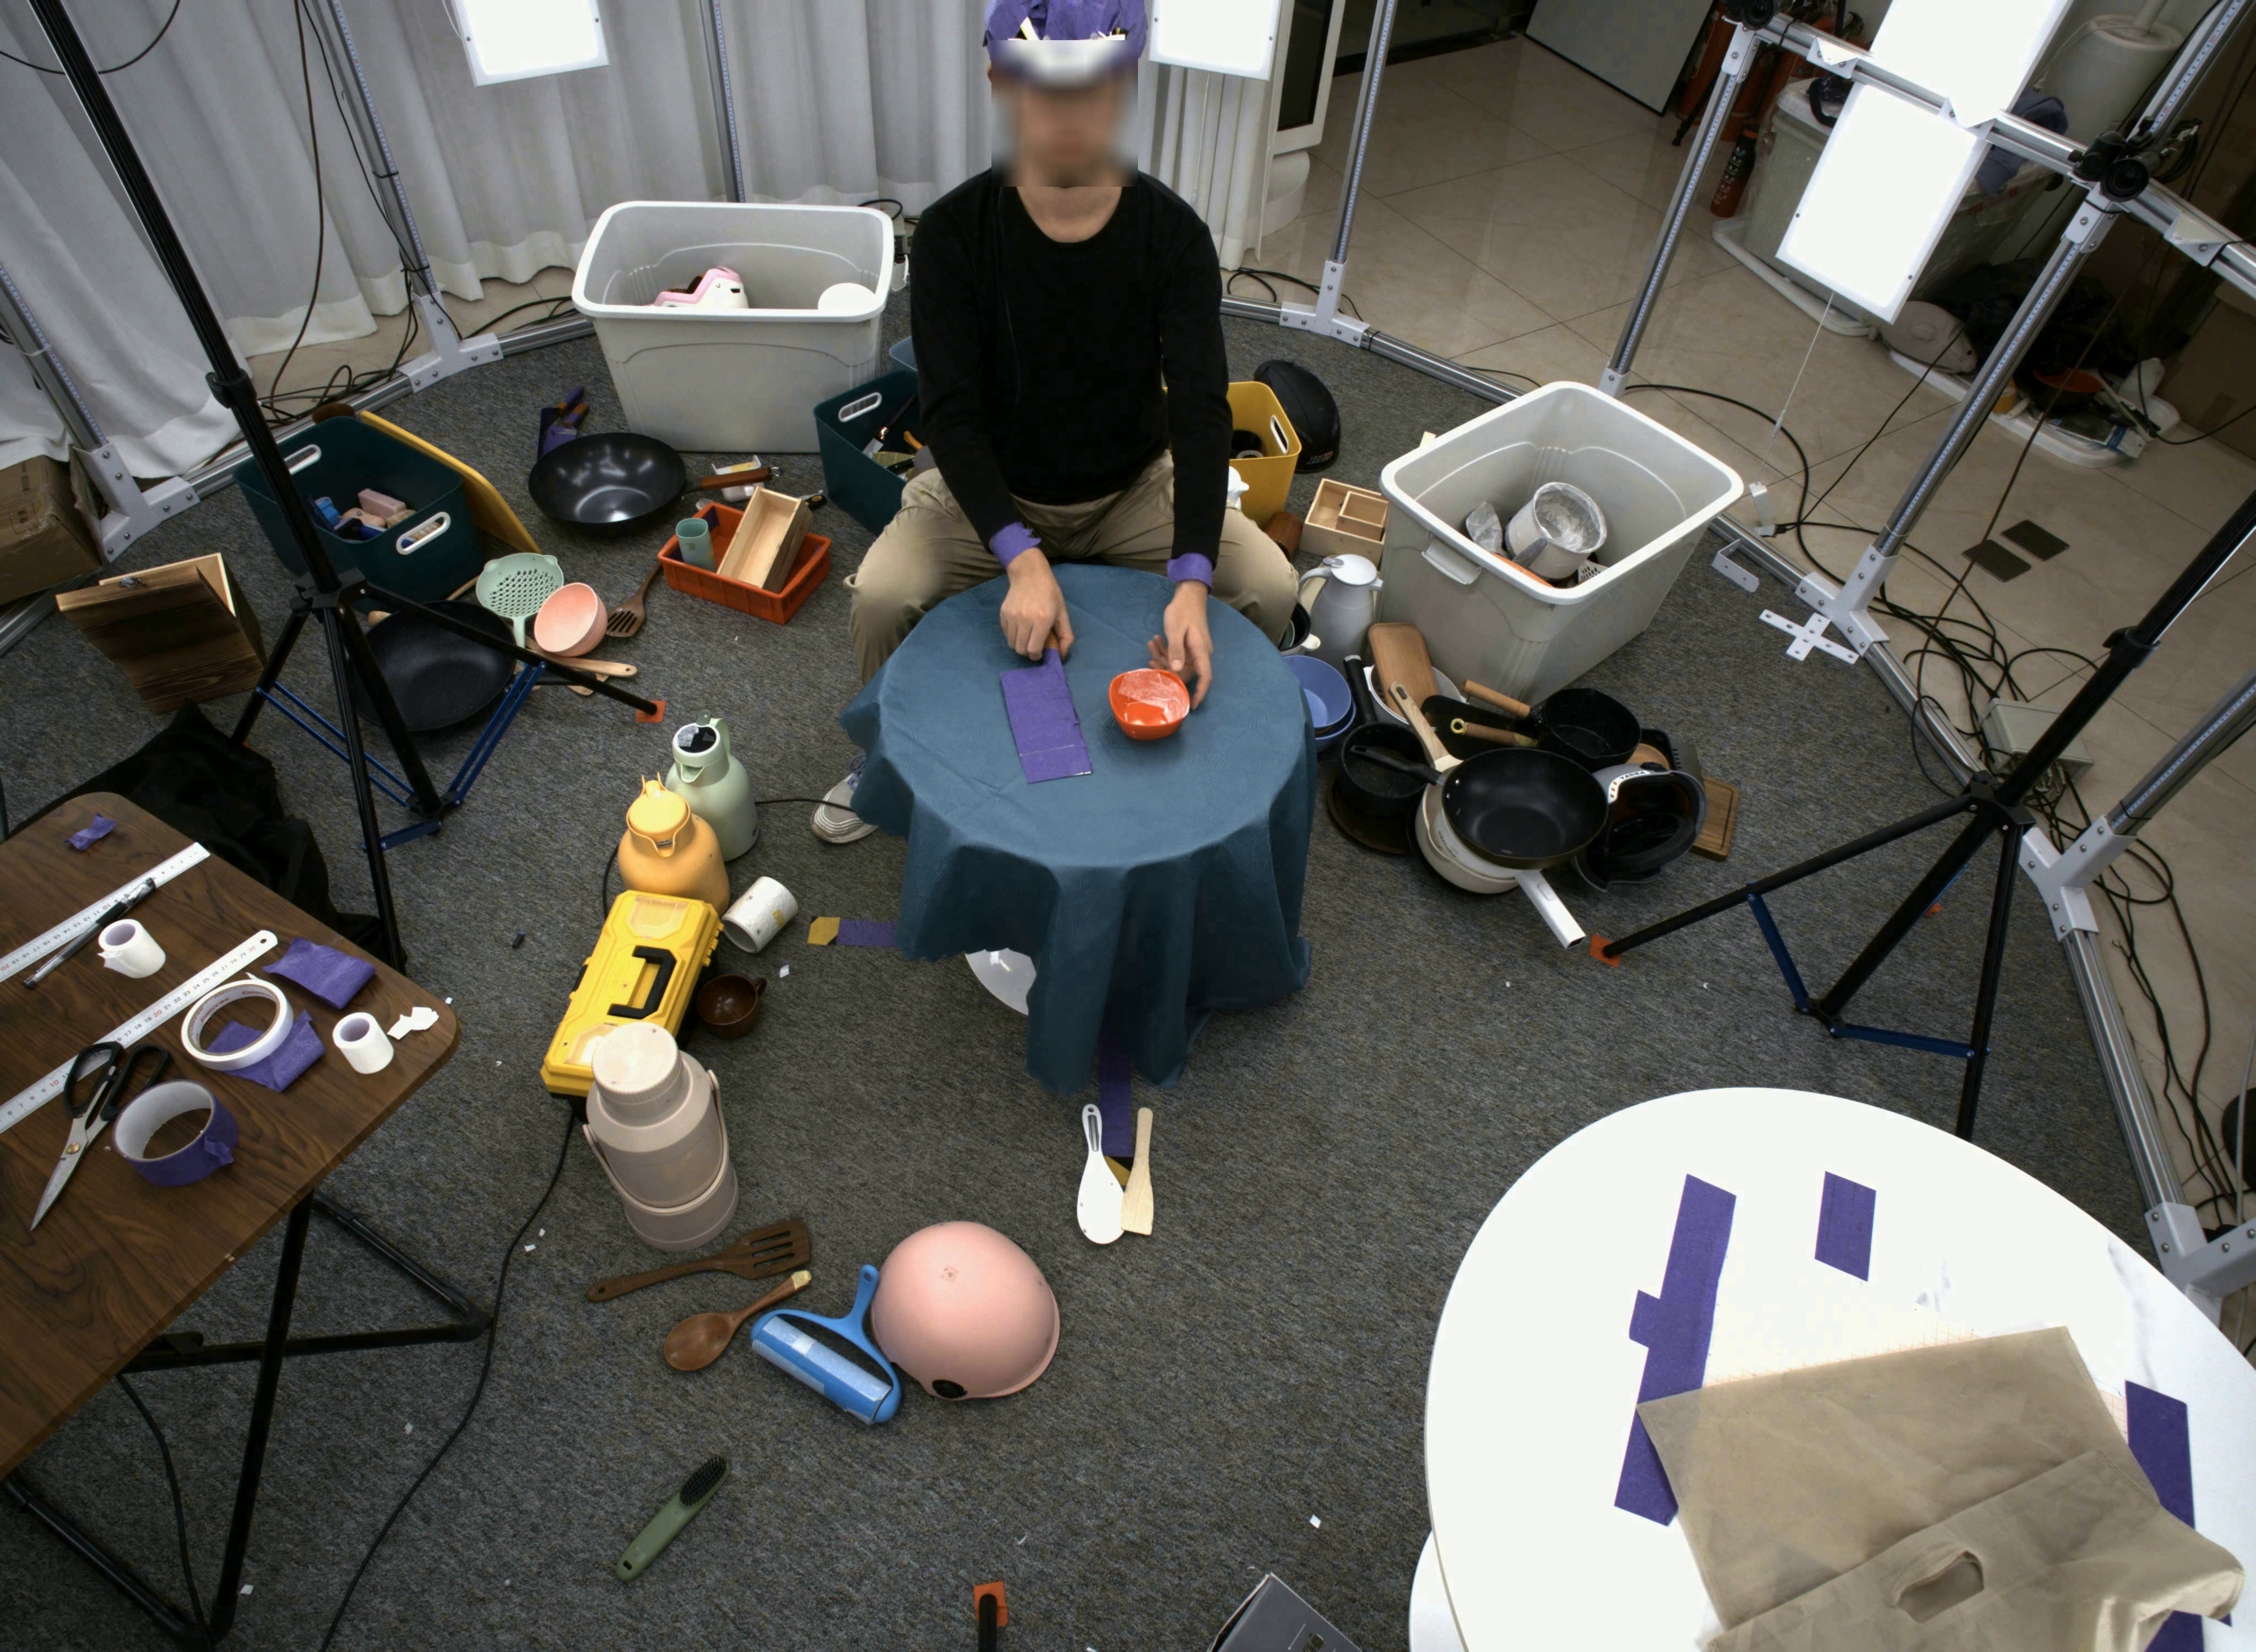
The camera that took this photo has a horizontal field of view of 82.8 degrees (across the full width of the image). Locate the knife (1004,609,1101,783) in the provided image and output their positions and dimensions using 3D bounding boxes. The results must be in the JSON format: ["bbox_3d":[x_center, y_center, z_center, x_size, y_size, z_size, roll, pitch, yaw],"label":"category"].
[{"bbox_3d":[-0.123,-0.188,1.808,0.104,0.031,0.323,-9,51,-11],"label":"knife"}]

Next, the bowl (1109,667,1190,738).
[{"bbox_3d":[0.029,-0.164,1.776,0.119,0.050,0.122,1,53,-2],"label":"bowl"}]
